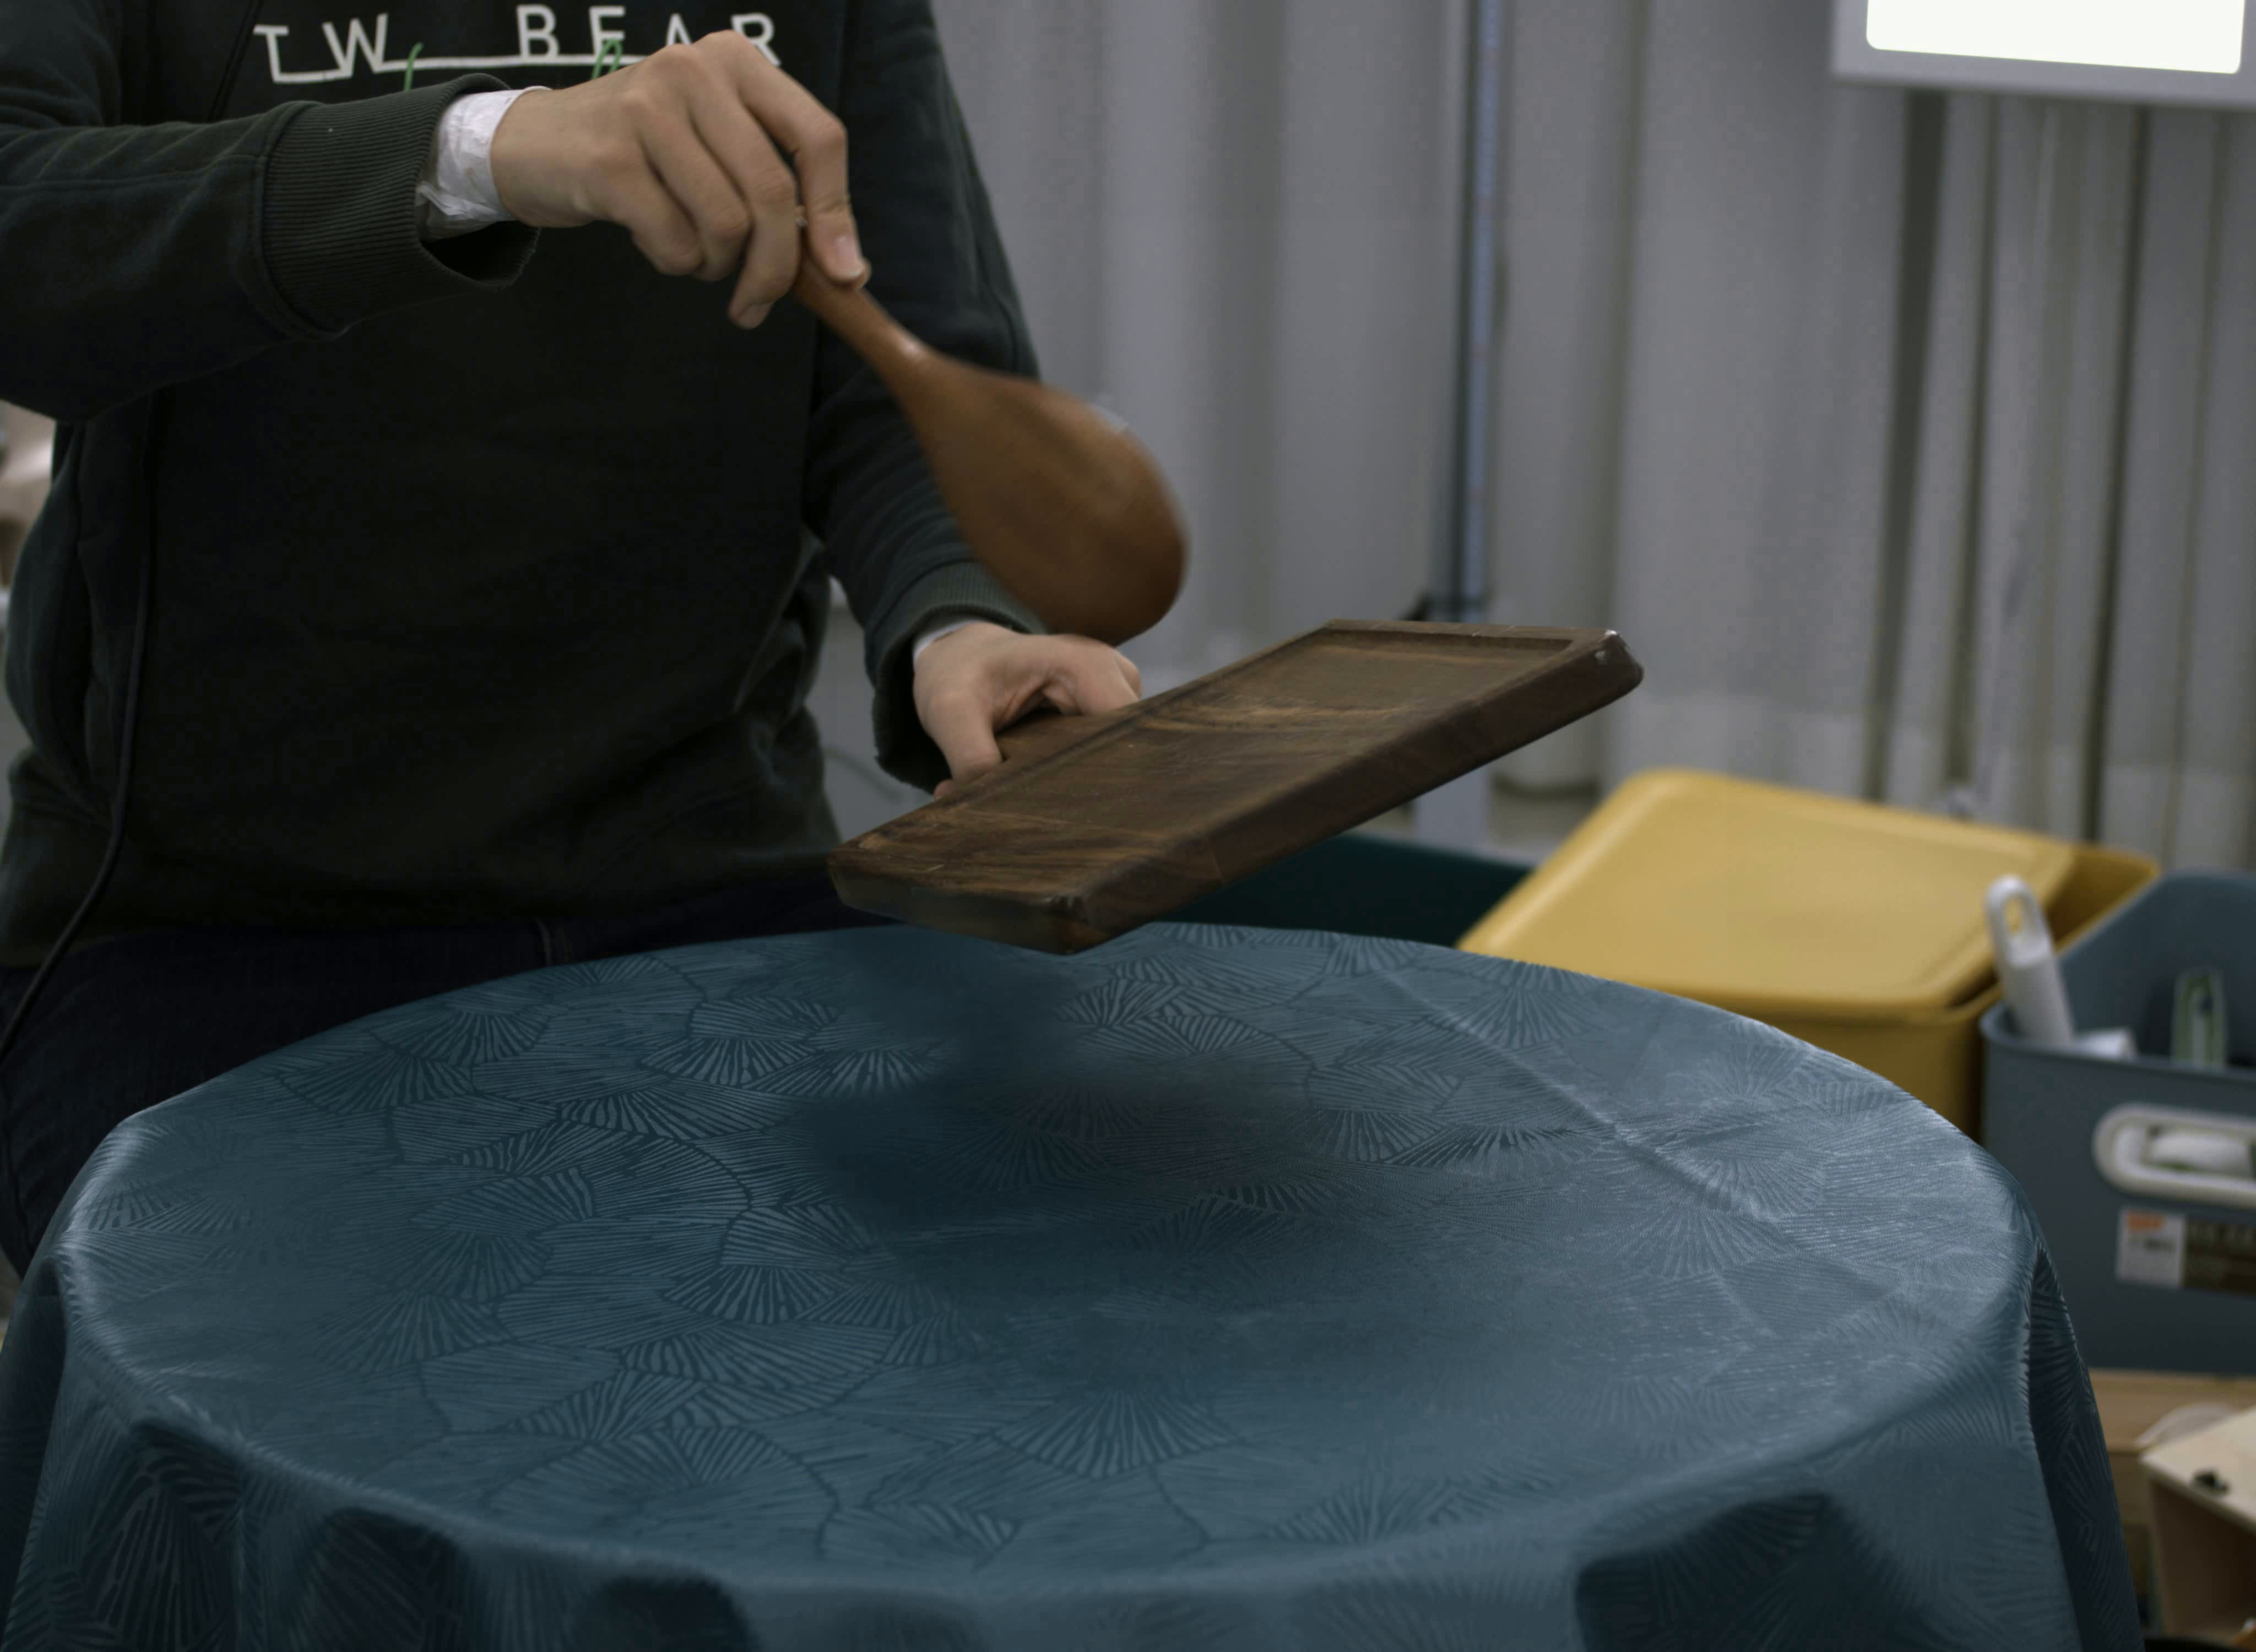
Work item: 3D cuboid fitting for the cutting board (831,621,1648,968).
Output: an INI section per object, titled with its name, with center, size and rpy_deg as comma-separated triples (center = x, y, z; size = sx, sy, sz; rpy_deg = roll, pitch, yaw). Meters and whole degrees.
[cutting board]
center = 0.012, -0.017, 1.678
size = 0.201, 0.023, 0.349
rpy_deg = -26, 11, -16

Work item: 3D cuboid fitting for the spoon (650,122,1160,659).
[spoon]
center = -0.070, -0.134, 1.603
size = 0.215, 0.075, 0.017
rpy_deg = 47, 46, 9
